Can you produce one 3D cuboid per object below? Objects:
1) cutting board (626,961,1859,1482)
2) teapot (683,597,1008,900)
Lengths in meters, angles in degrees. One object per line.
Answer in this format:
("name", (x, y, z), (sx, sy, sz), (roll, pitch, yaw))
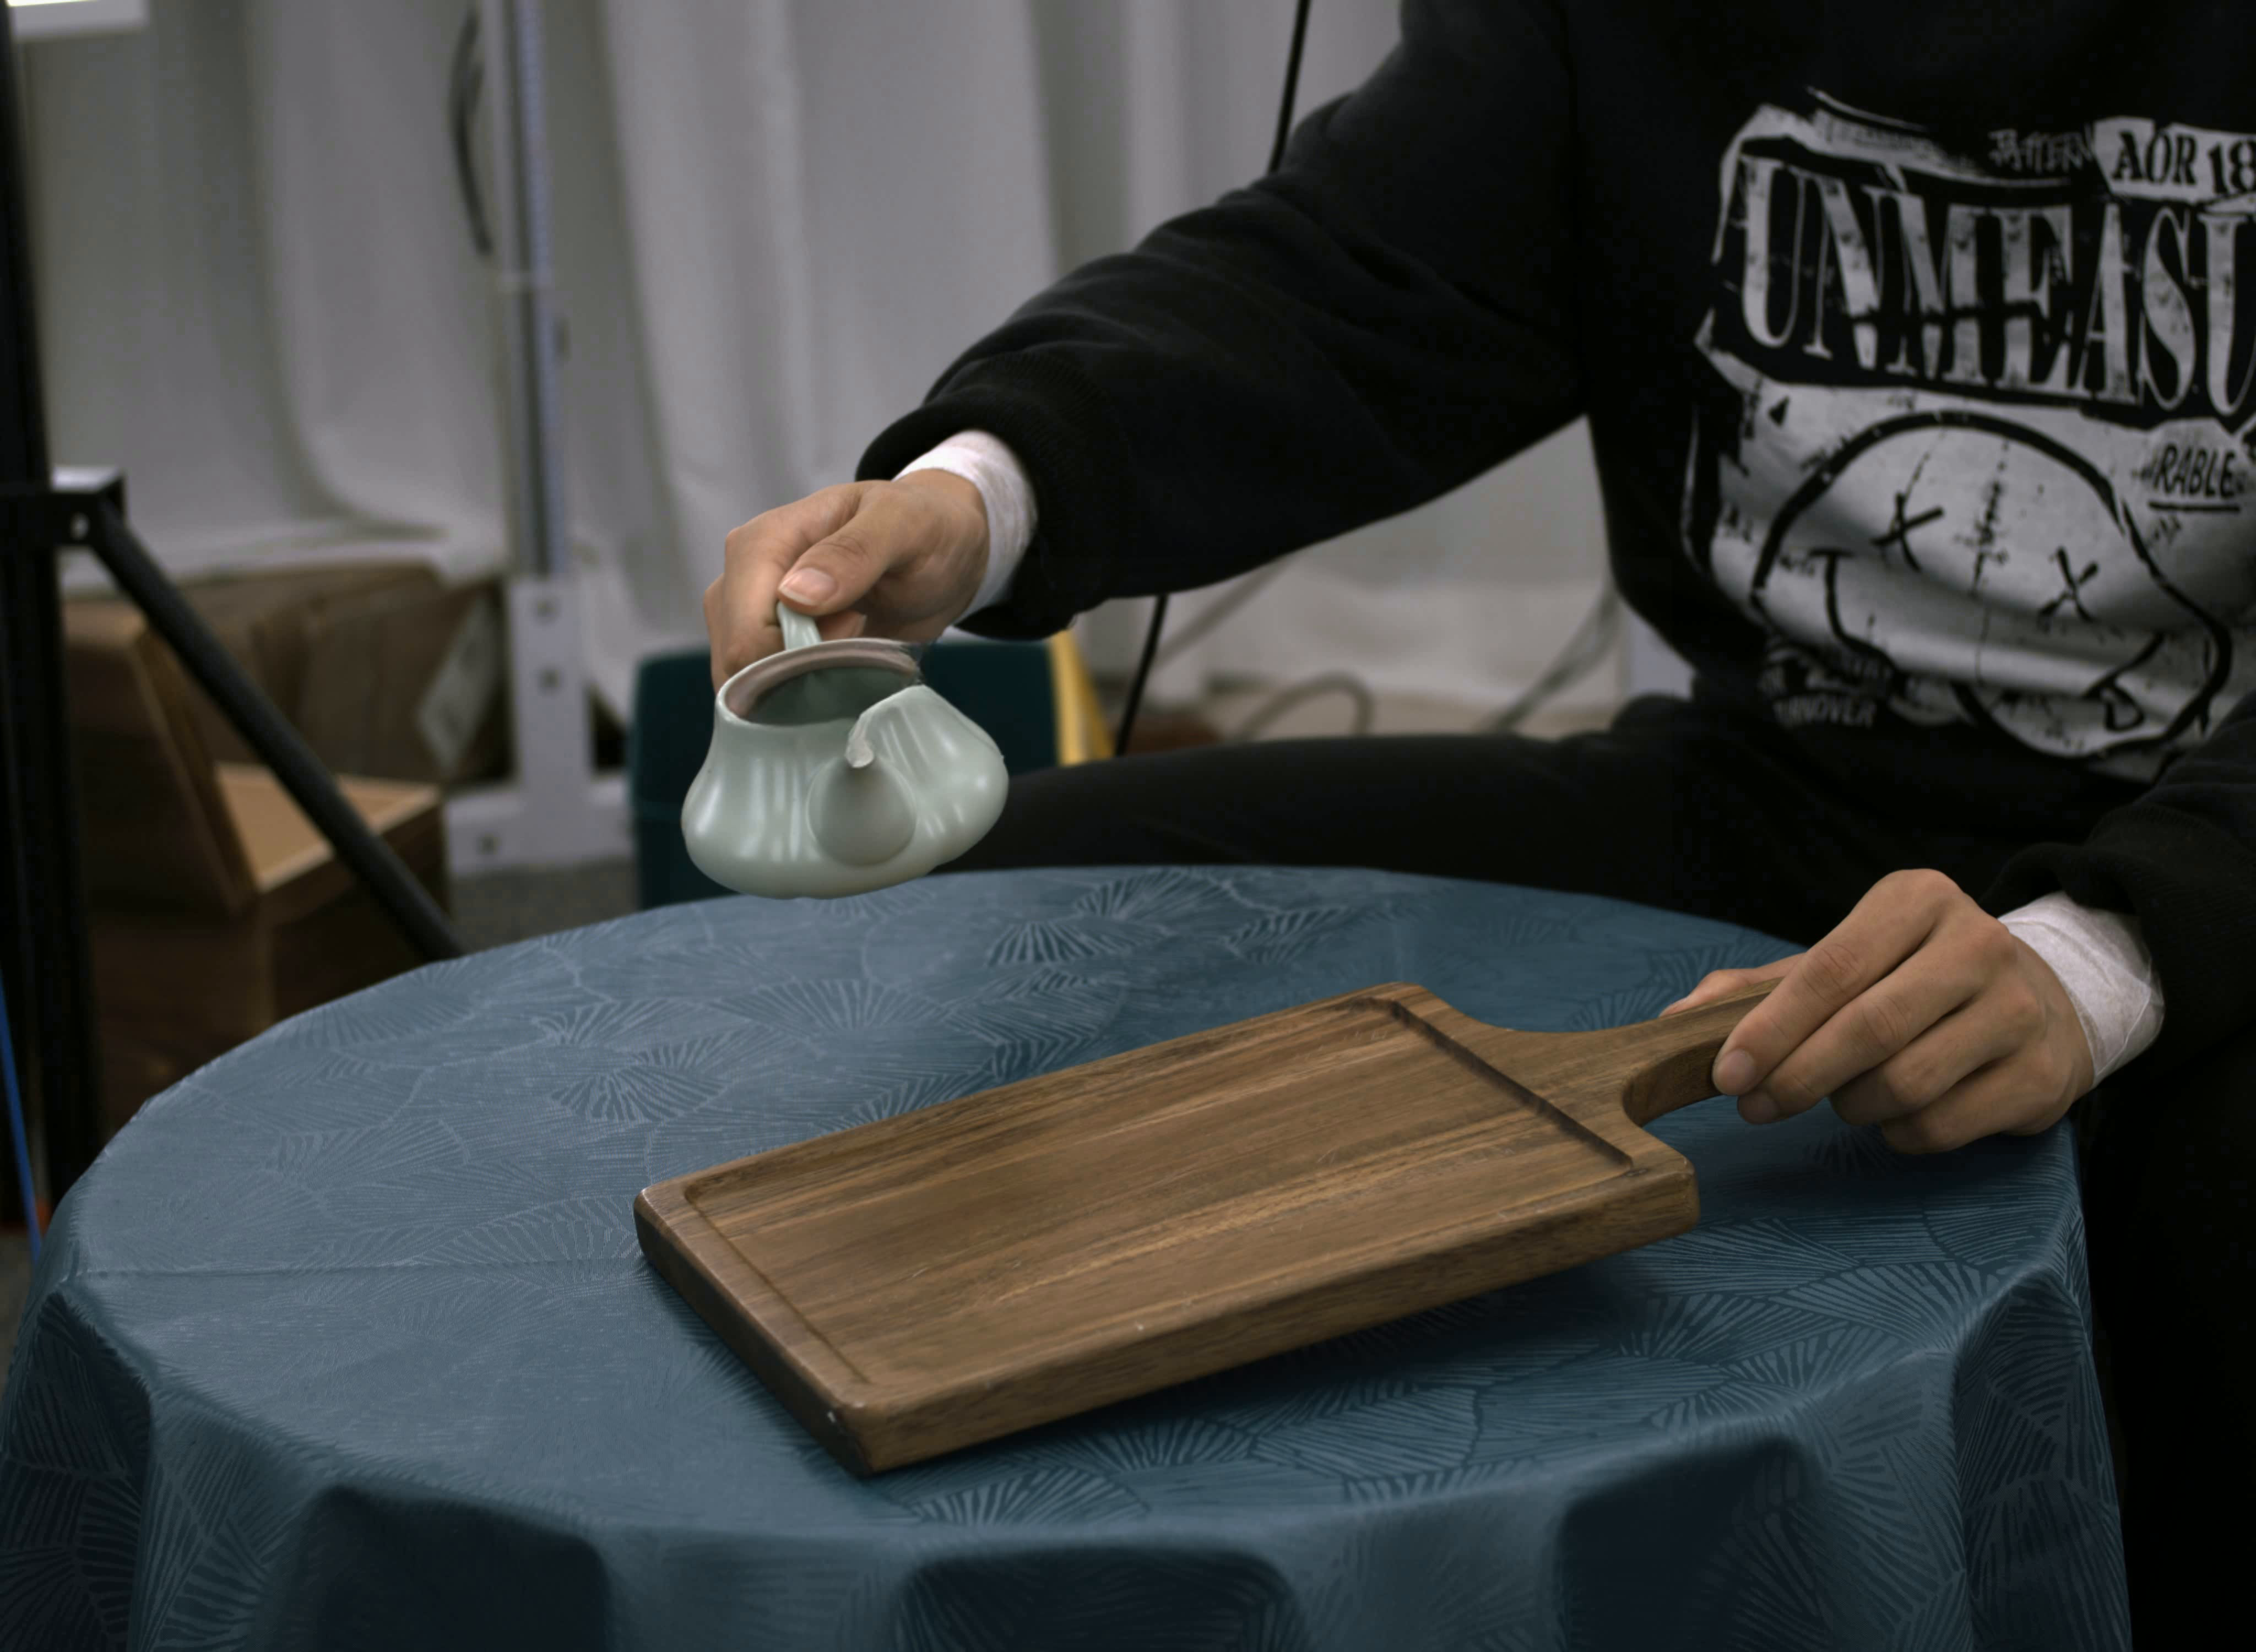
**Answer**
("cutting board", (0.052, 0.094, 1.487), (0.346, 0.023, 0.205), (-15, 19, -18))
("teapot", (-0.085, -0.020, 1.551), (0.095, 0.061, 0.139), (-16, 25, -8))
